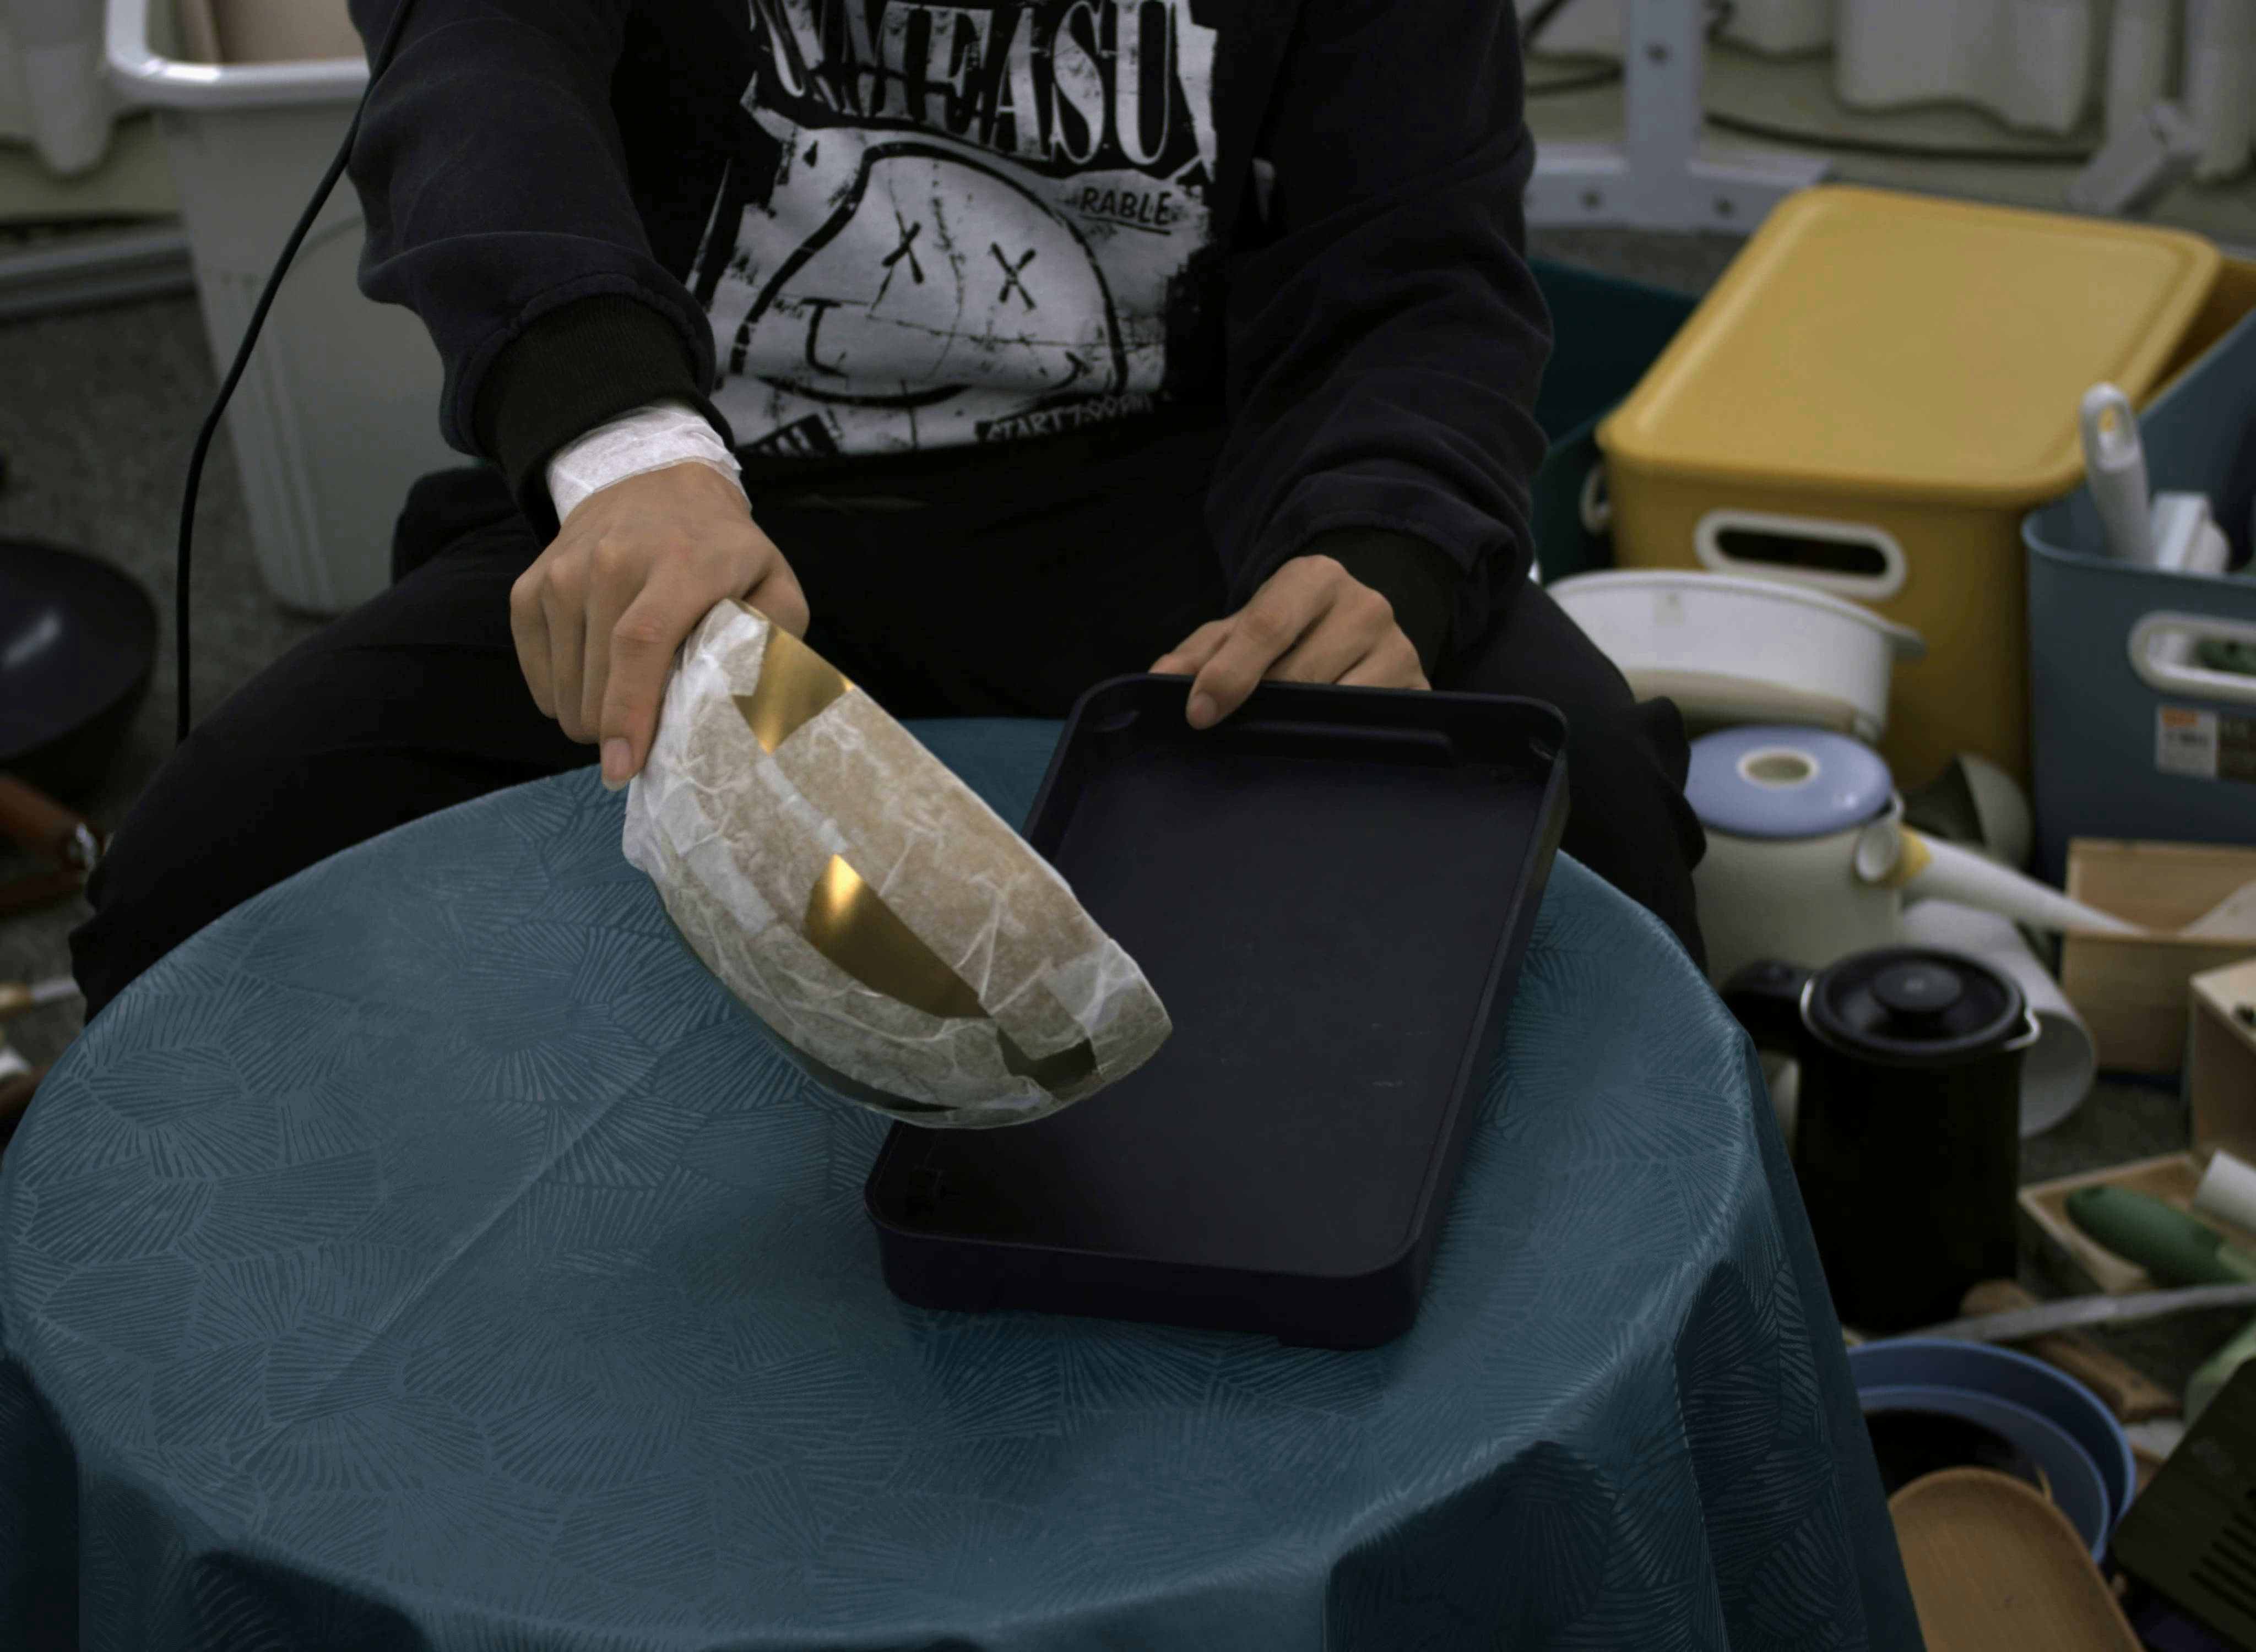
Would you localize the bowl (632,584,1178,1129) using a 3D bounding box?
[{"bbox_3d":[-0.088,0.028,1.785,0.095,0.213,0.215,-47,40,-7],"label":"bowl"}]

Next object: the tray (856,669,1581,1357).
[{"bbox_3d":[0.038,0.056,1.901,0.183,0.036,0.324,5,37,15],"label":"tray"}]
